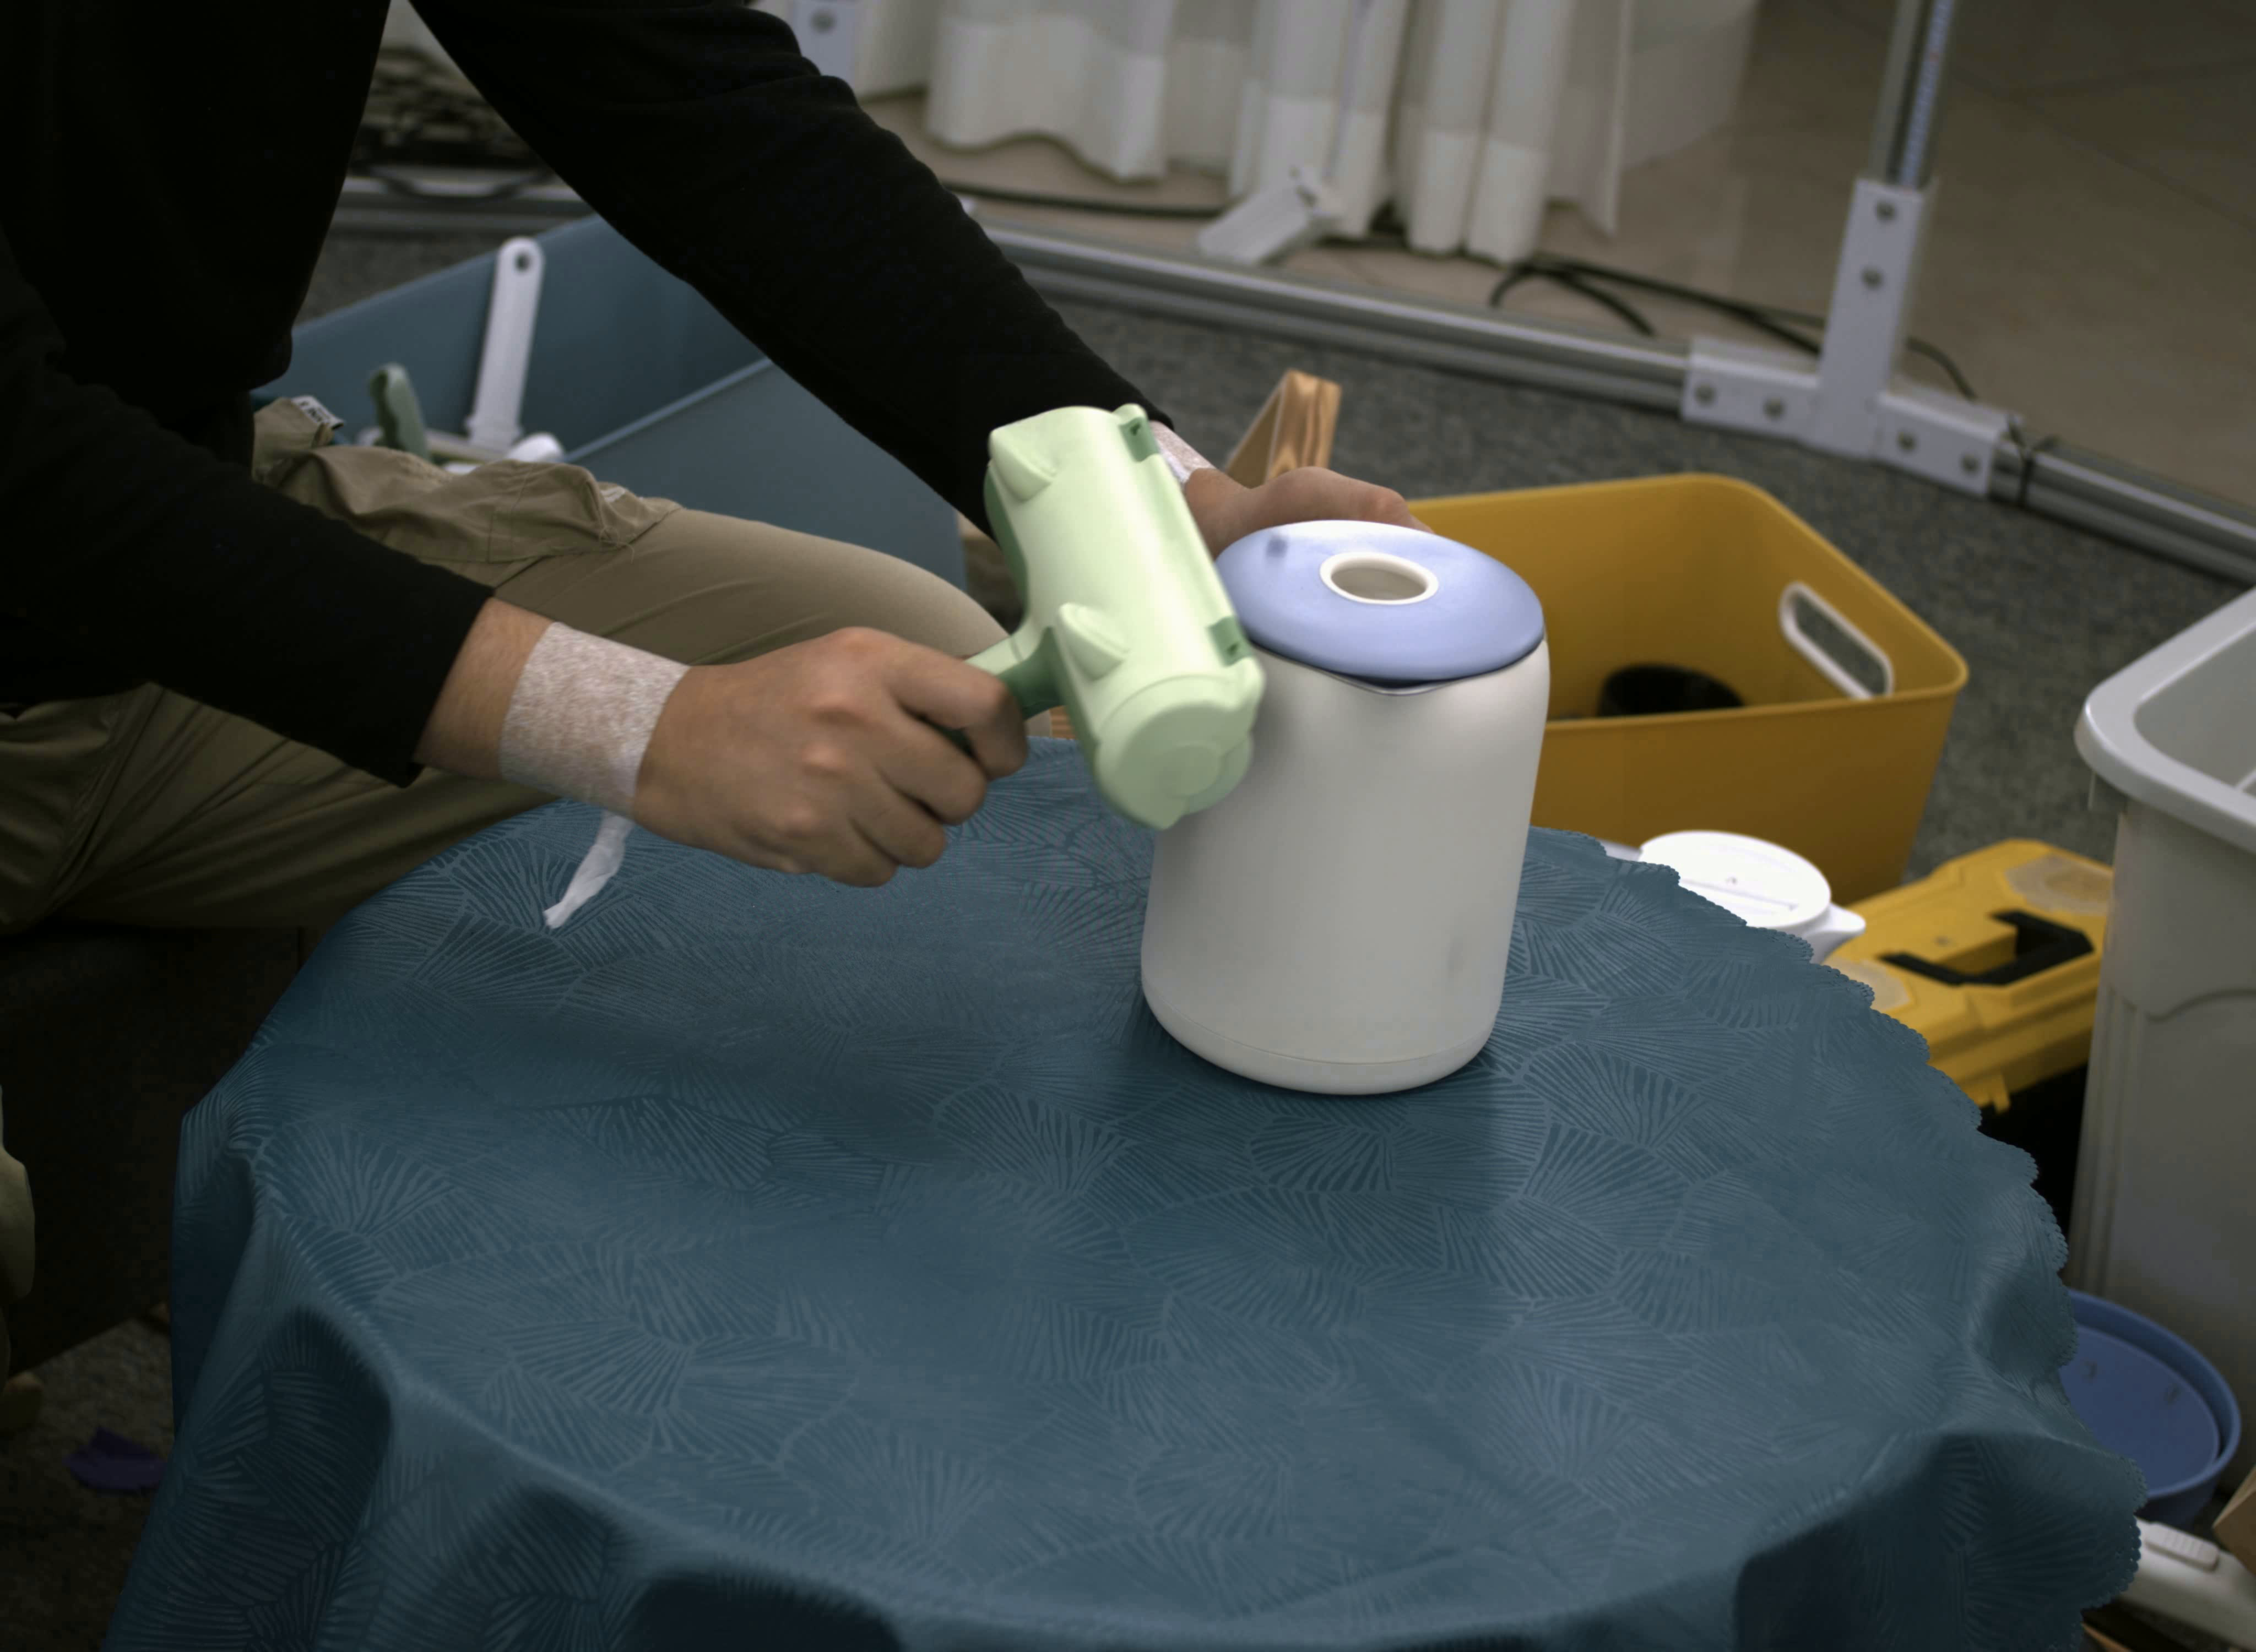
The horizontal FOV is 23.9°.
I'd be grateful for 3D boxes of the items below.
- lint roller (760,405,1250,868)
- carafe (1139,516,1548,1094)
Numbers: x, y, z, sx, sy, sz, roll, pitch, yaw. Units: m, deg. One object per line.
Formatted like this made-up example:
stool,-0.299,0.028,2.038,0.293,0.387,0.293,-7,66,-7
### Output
lint roller,-0.058,-0.054,1.810,0.183,0.081,0.200,-28,35,5
carafe,0.074,-0.019,1.909,0.131,0.182,0.192,4,25,-7
